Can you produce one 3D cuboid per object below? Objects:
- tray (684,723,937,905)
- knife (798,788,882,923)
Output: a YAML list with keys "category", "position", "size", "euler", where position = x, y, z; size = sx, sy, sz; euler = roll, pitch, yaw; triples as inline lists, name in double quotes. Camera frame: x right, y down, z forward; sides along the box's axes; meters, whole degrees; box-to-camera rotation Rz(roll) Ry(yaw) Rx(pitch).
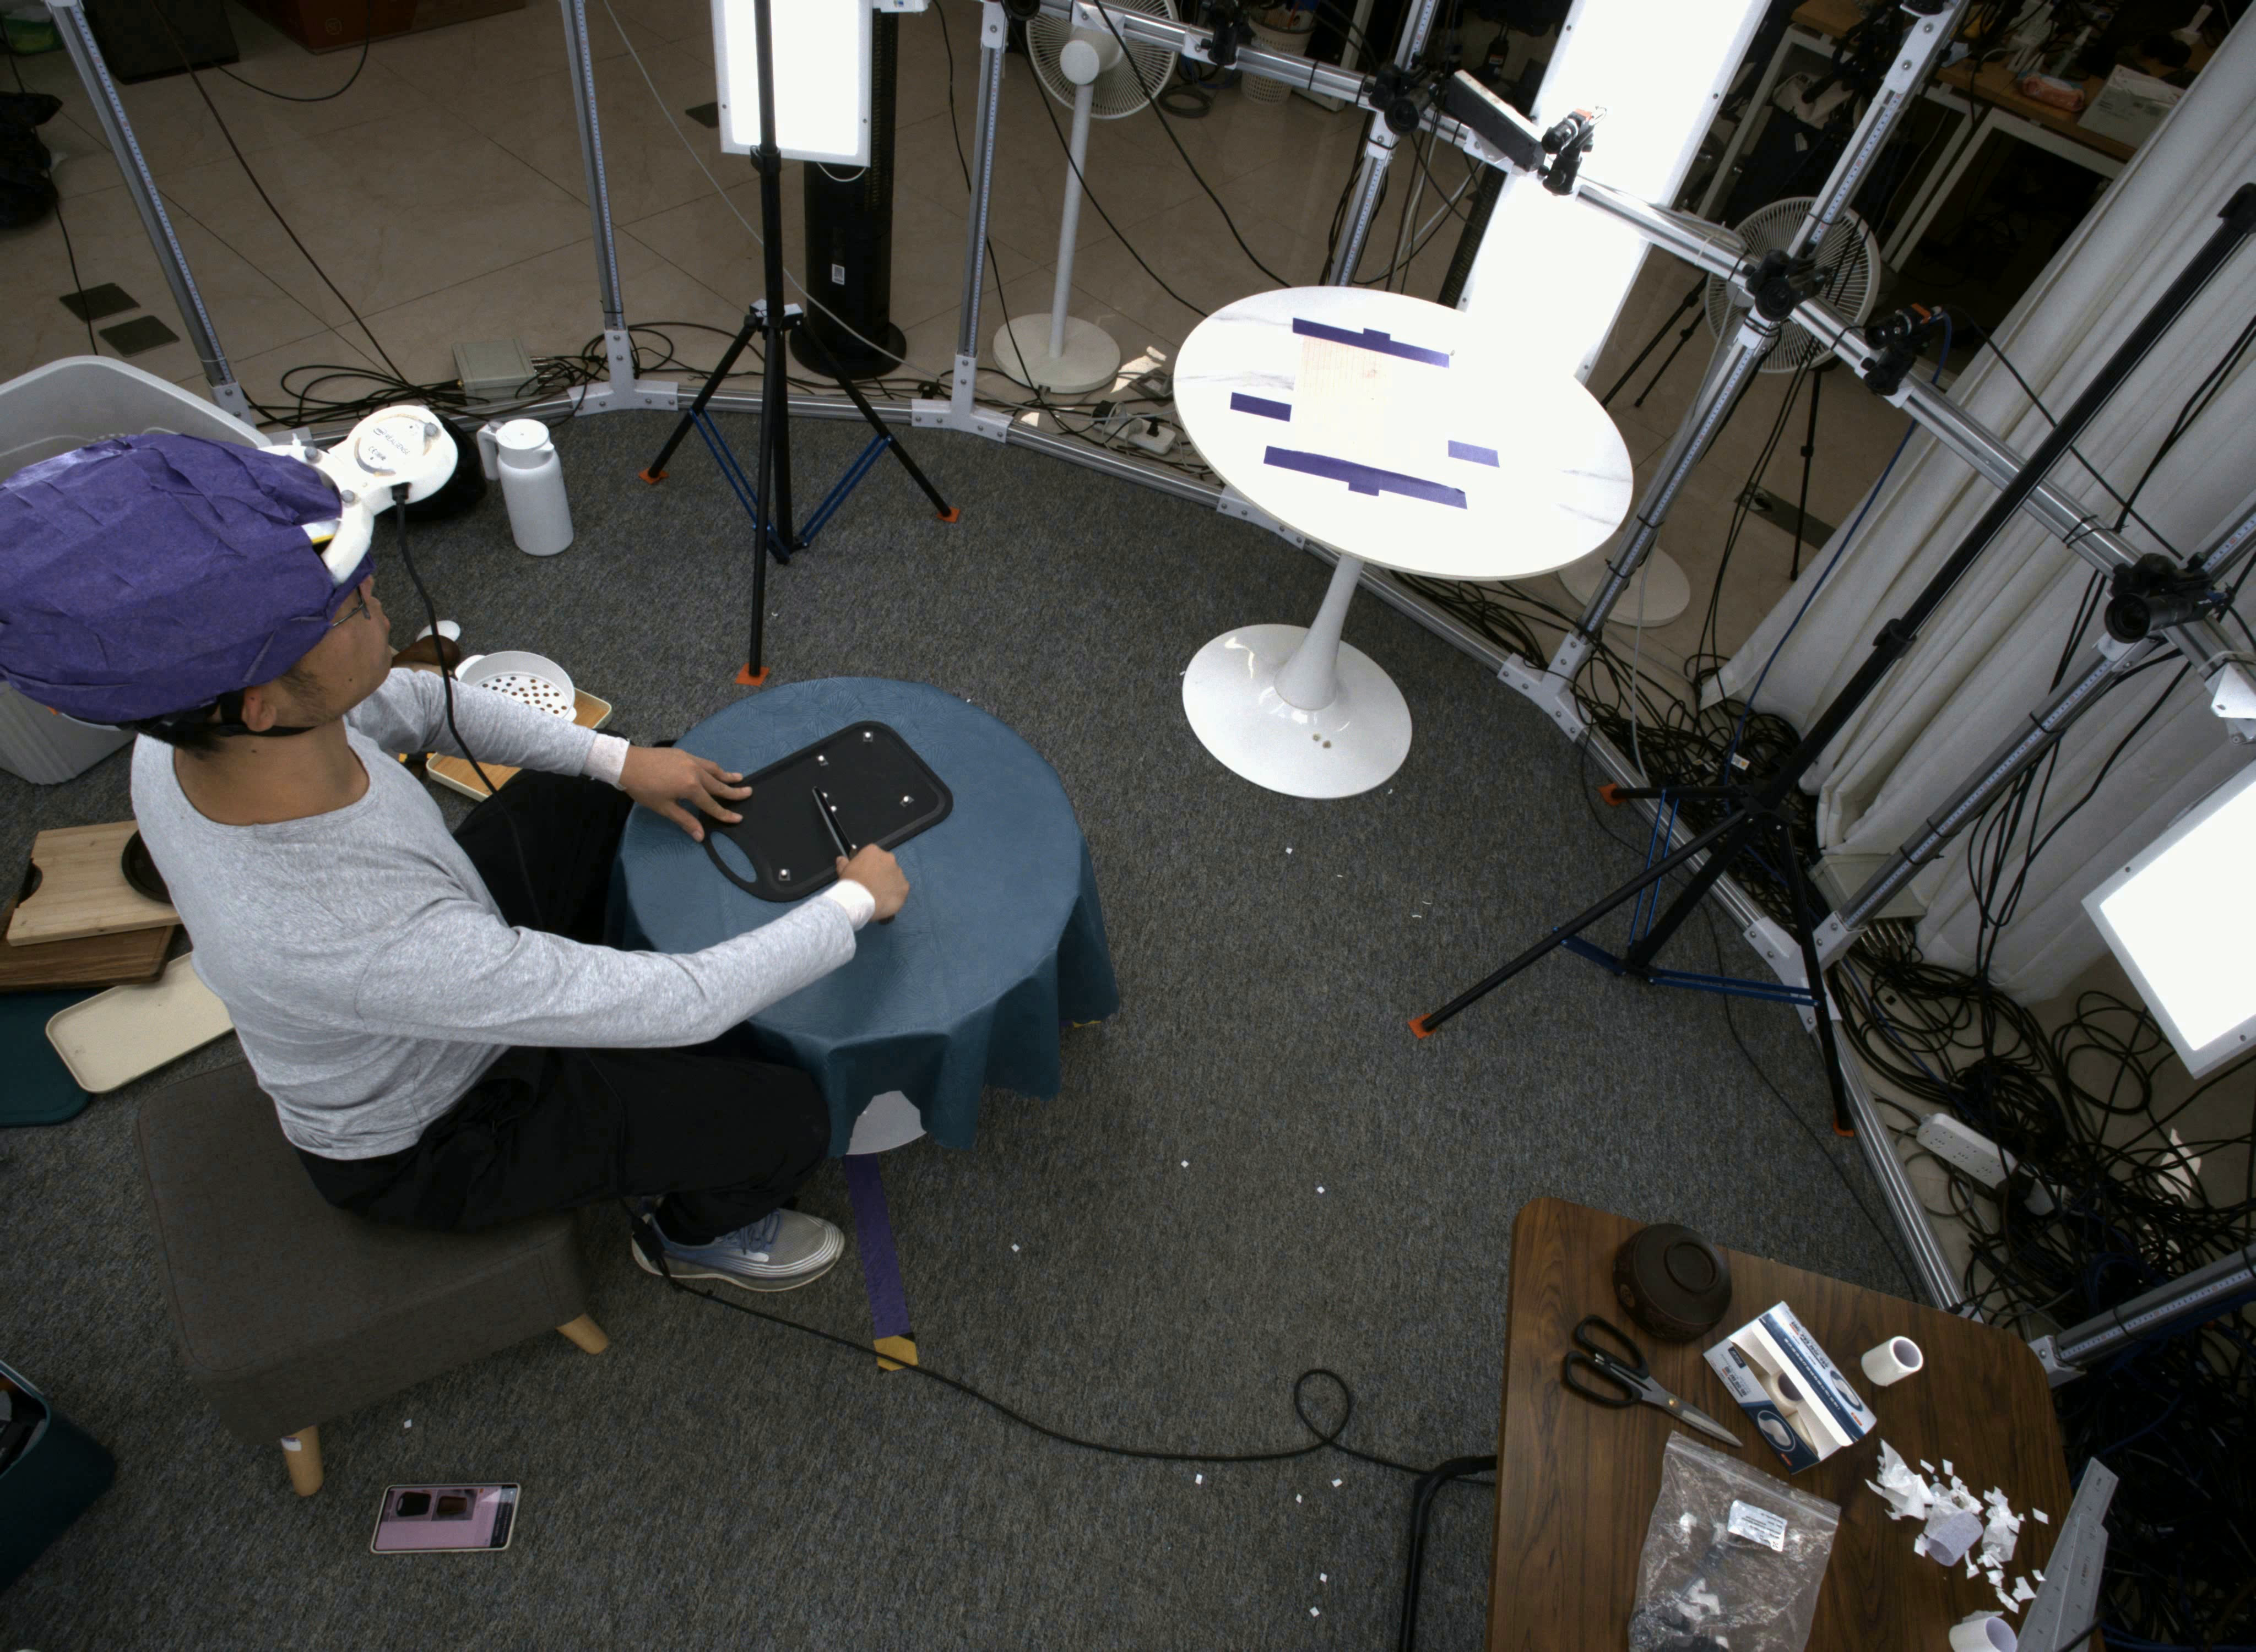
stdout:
- category: "tray"
  position: [-0.430, -0.021, 1.745]
  size: [0.326, 0.010, 0.206]
  euler: [-32, 67, -31]
- category: "knife"
  position: [-0.377, 0.031, 1.664]
  size: [0.020, 0.052, 0.279]
  euler: [-17, 44, -26]
